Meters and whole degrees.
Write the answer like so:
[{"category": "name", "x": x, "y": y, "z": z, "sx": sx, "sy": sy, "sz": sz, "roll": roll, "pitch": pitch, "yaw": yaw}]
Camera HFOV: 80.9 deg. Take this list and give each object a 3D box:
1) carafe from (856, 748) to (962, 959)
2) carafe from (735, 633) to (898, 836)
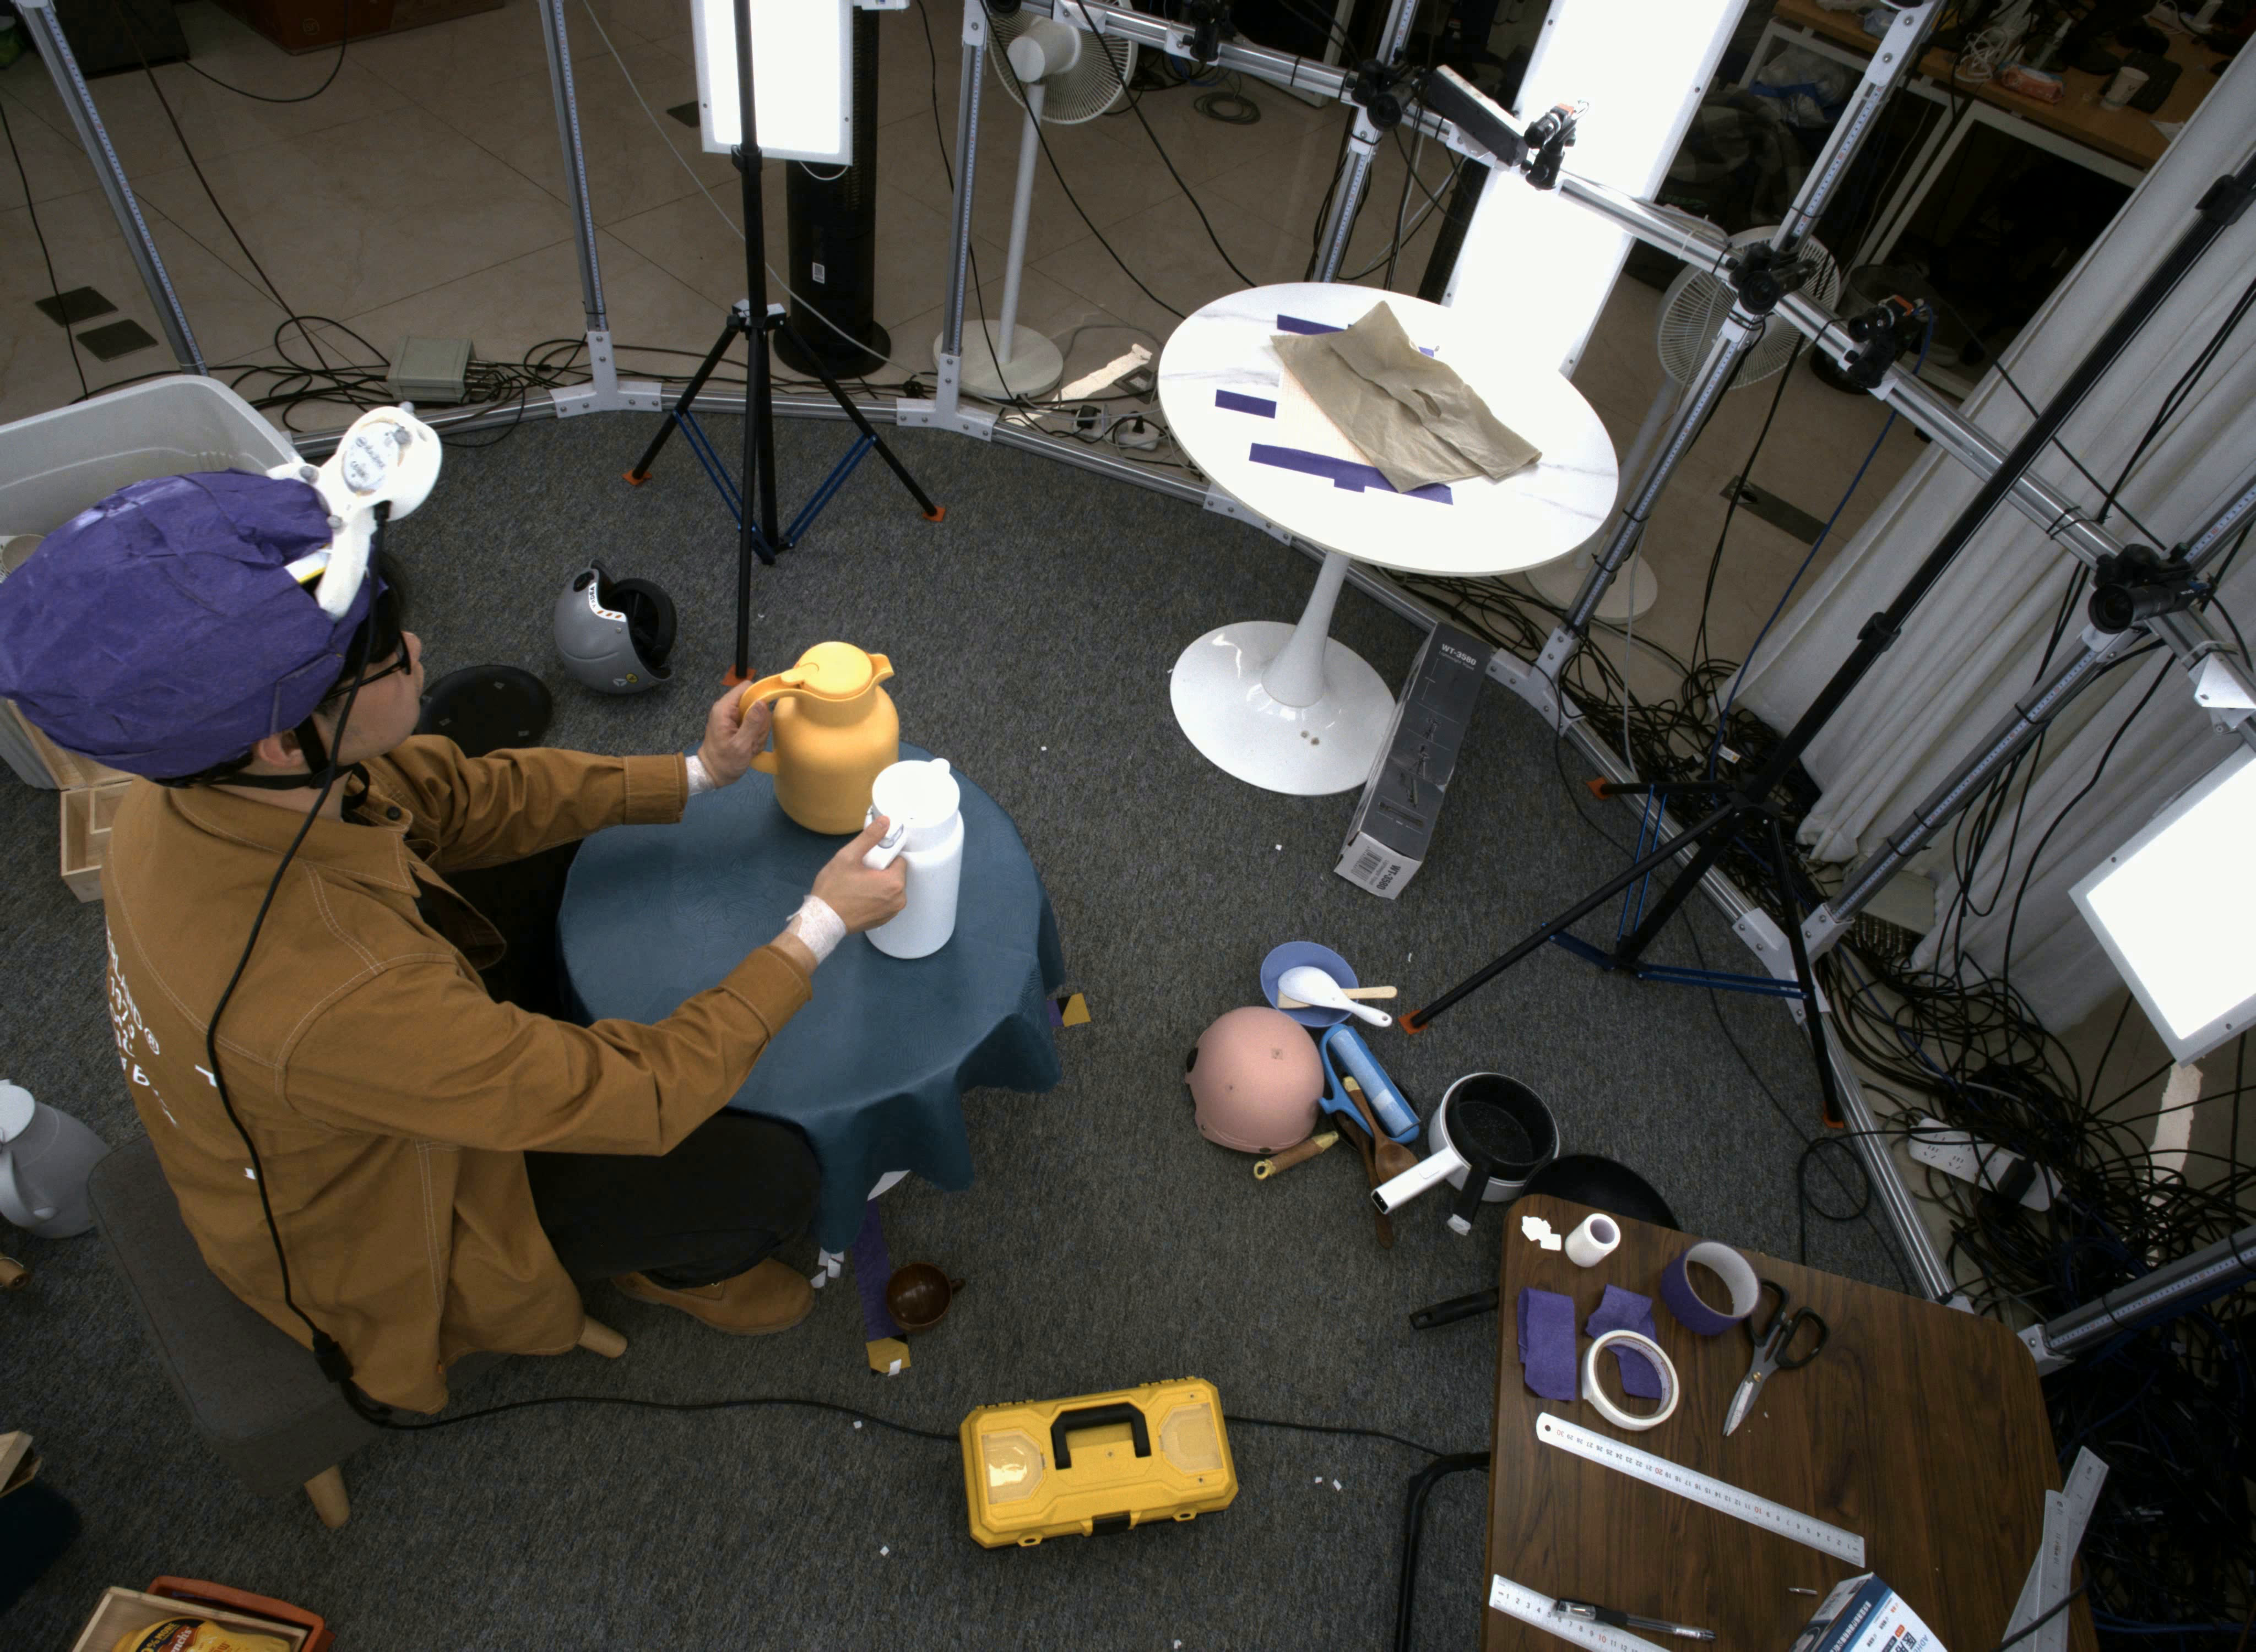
[{"category": "carafe", "x": -0.266, "y": 0.051, "z": 1.551, "sx": 0.122, "sy": 0.274, "sz": 0.171, "roll": 24, "pitch": 52, "yaw": 6}, {"category": "carafe", "x": -0.394, "y": -0.119, "z": 1.648, "sx": 0.203, "sy": 0.266, "sz": 0.159, "roll": -11, "pitch": 53, "yaw": -22}]
